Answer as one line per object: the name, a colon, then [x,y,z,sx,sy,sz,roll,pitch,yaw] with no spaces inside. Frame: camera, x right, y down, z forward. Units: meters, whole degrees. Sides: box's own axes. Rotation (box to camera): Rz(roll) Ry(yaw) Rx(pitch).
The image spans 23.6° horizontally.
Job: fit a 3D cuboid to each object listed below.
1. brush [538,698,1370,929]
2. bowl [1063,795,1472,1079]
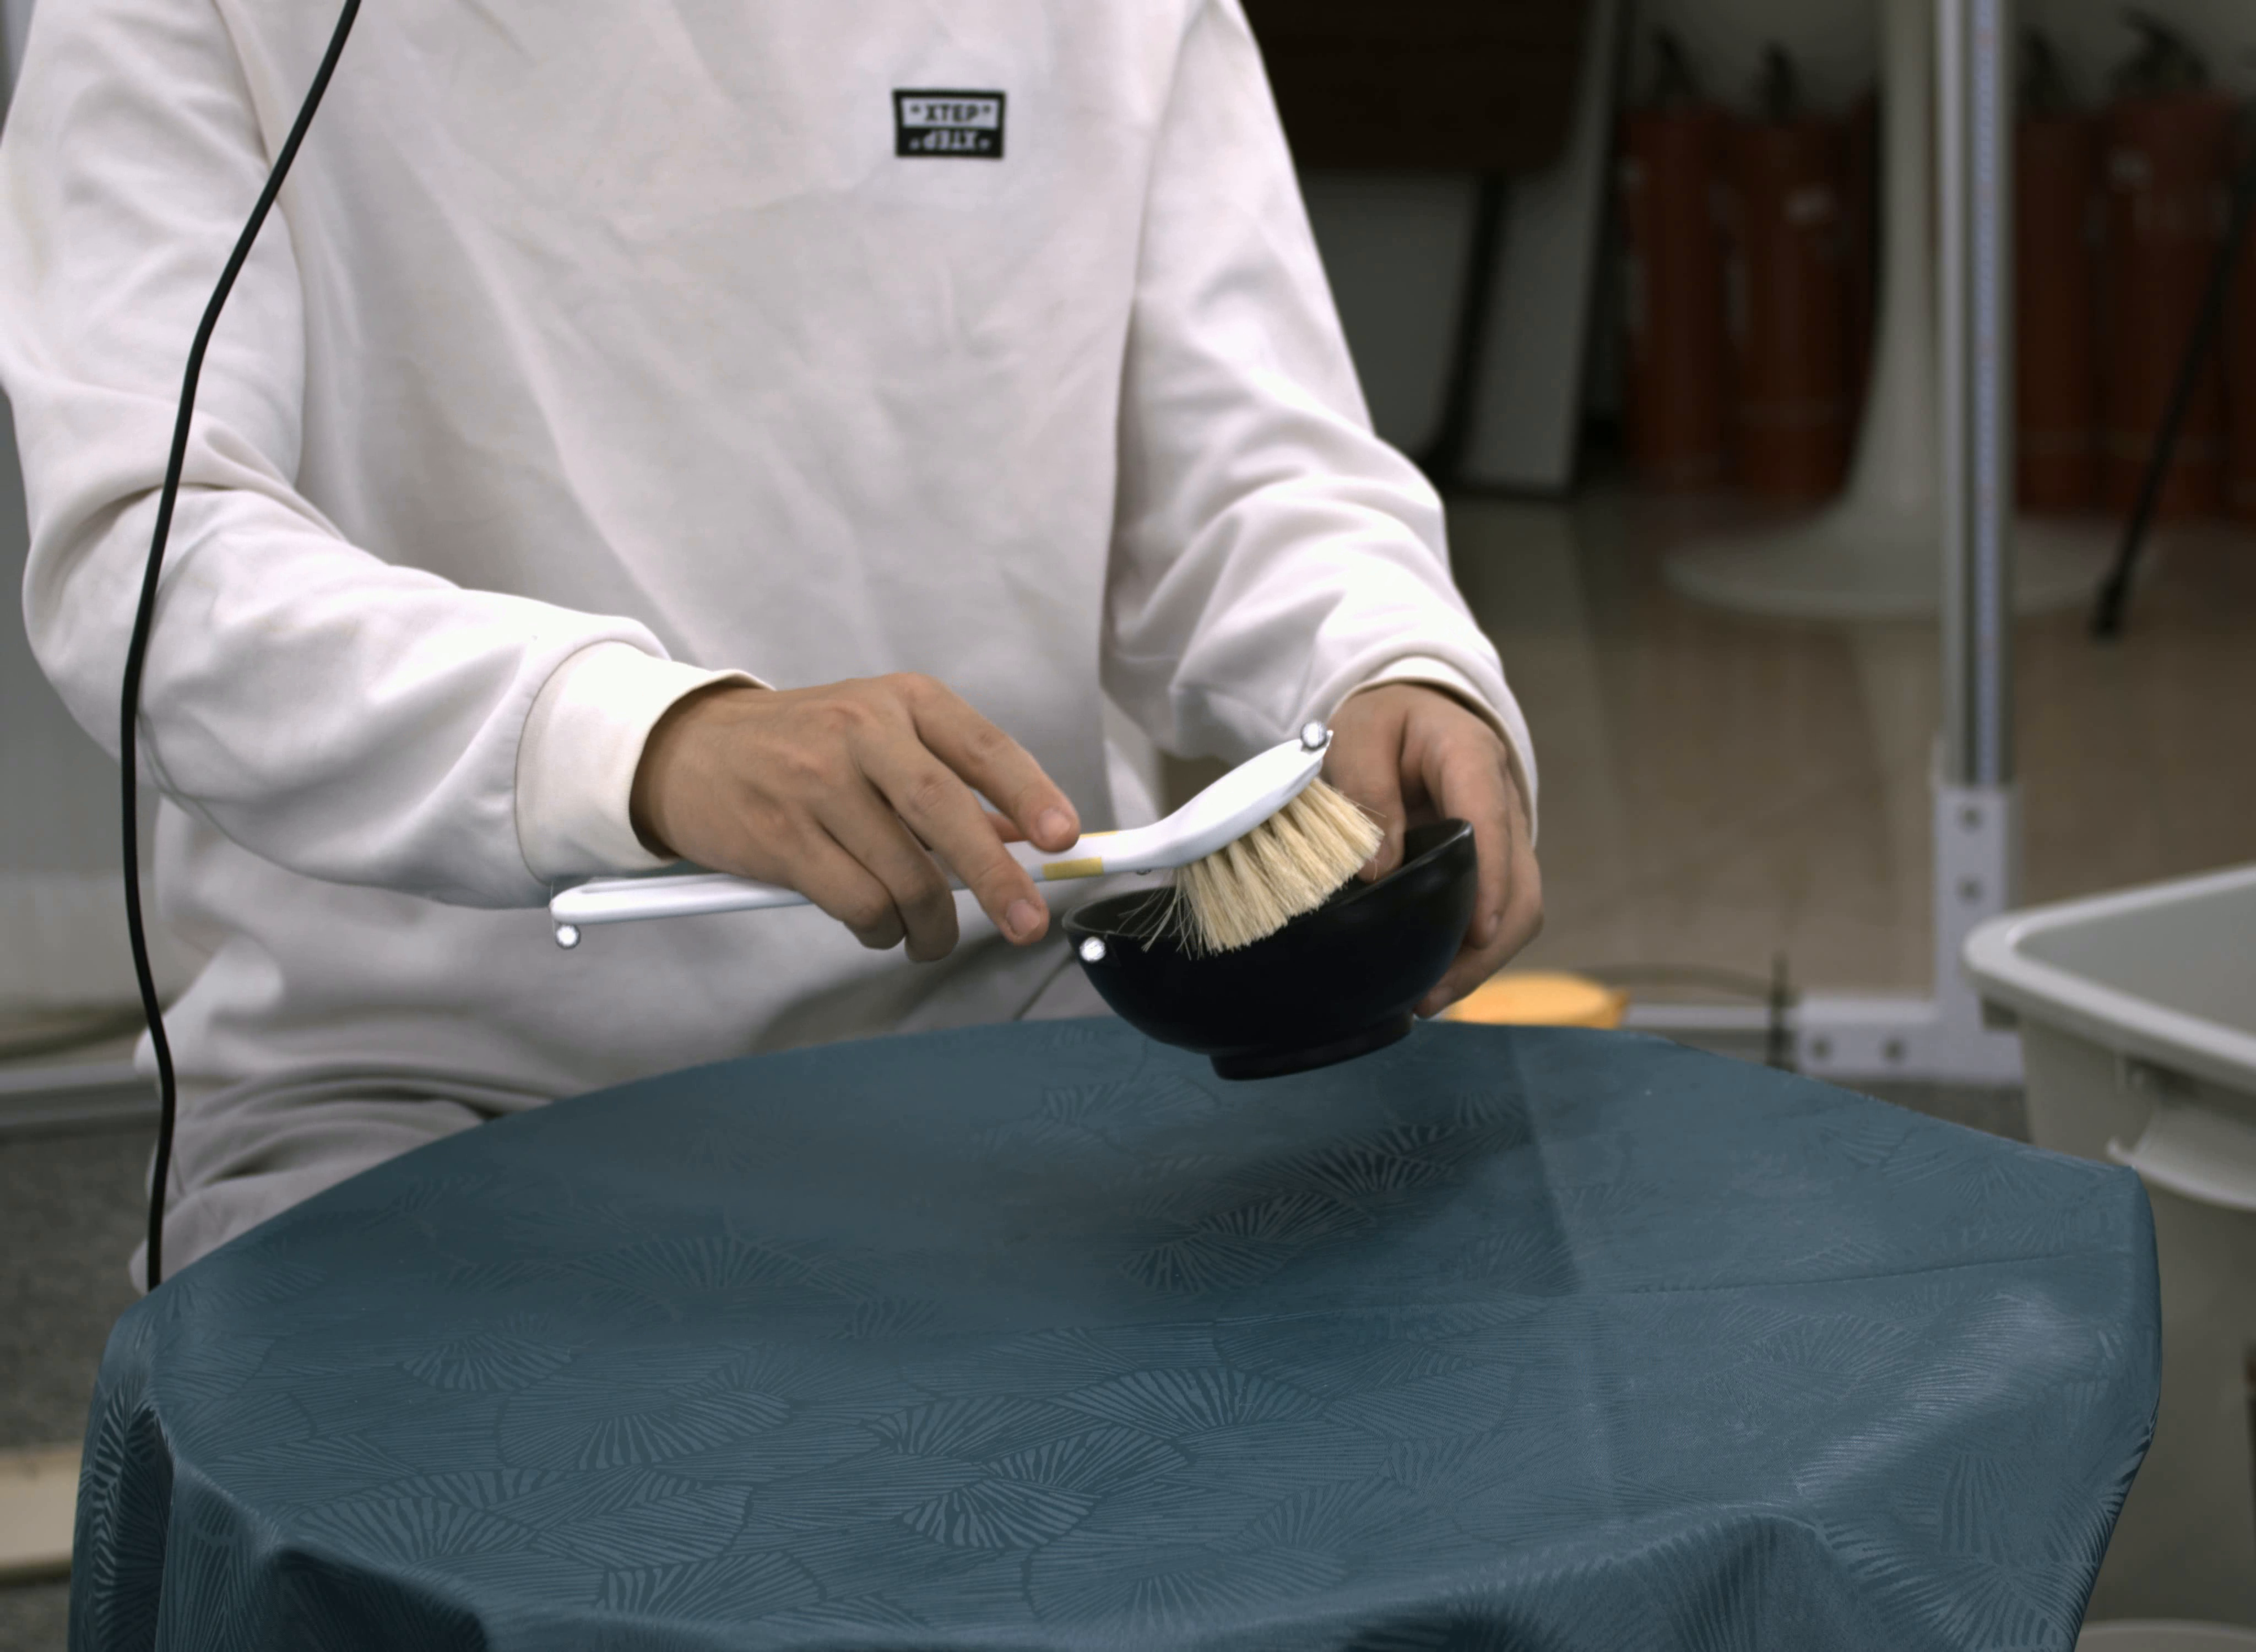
brush: [-0.053,0.018,1.690,0.265,0.056,0.068,-14,13,10]
bowl: [0.052,0.041,1.743,0.136,0.067,0.170,-17,1,6]
